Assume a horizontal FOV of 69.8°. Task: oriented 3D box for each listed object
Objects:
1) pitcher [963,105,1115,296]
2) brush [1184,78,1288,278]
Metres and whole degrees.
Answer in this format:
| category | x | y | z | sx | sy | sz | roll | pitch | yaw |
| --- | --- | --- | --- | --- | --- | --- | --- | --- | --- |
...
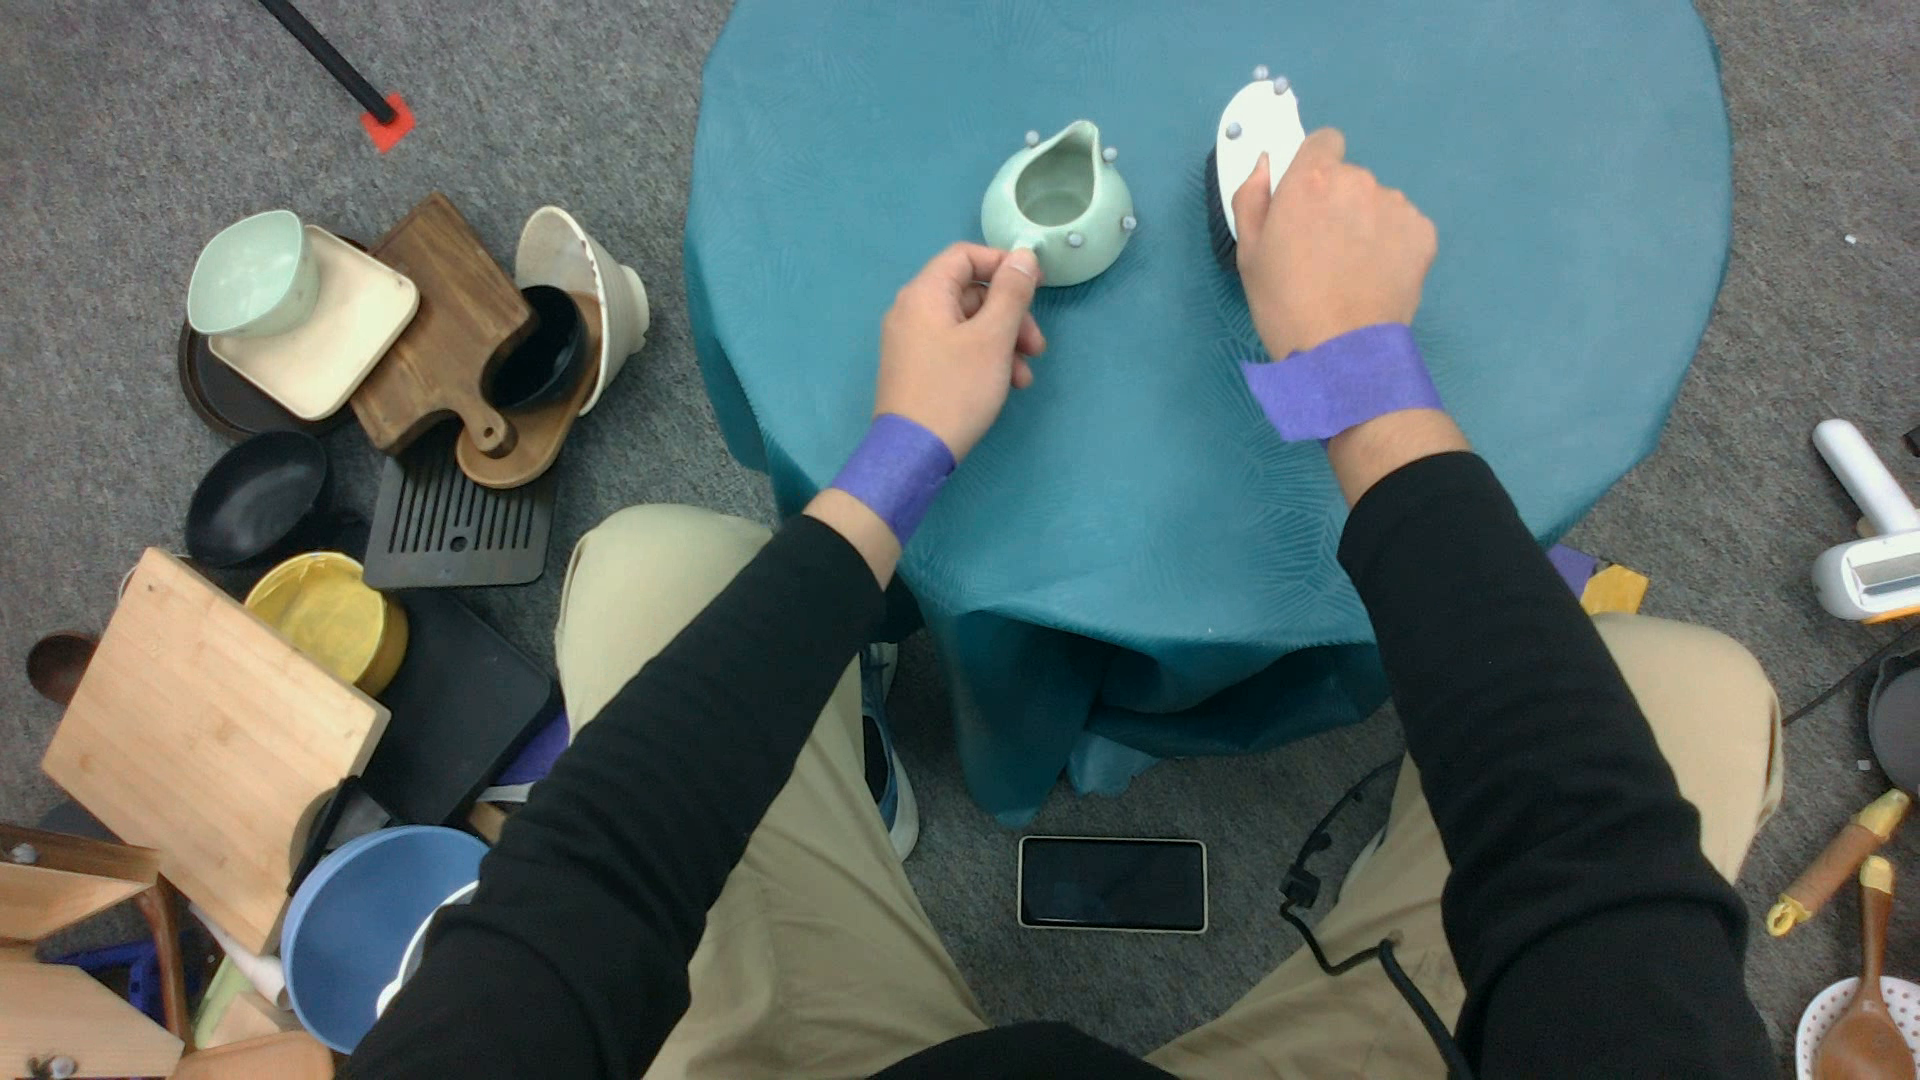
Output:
| category | x | y | z | sx | sy | sz | roll | pitch | yaw |
| --- | --- | --- | --- | --- | --- | --- | --- | --- | --- |
| pitcher | 0.040 | -0.183 | 0.770 | 0.086 | 0.060 | 0.108 | 18 | 79 | 10 |
| brush | 0.153 | -0.203 | 0.743 | 0.050 | 0.072 | 0.099 | 2 | 68 | -2 |
